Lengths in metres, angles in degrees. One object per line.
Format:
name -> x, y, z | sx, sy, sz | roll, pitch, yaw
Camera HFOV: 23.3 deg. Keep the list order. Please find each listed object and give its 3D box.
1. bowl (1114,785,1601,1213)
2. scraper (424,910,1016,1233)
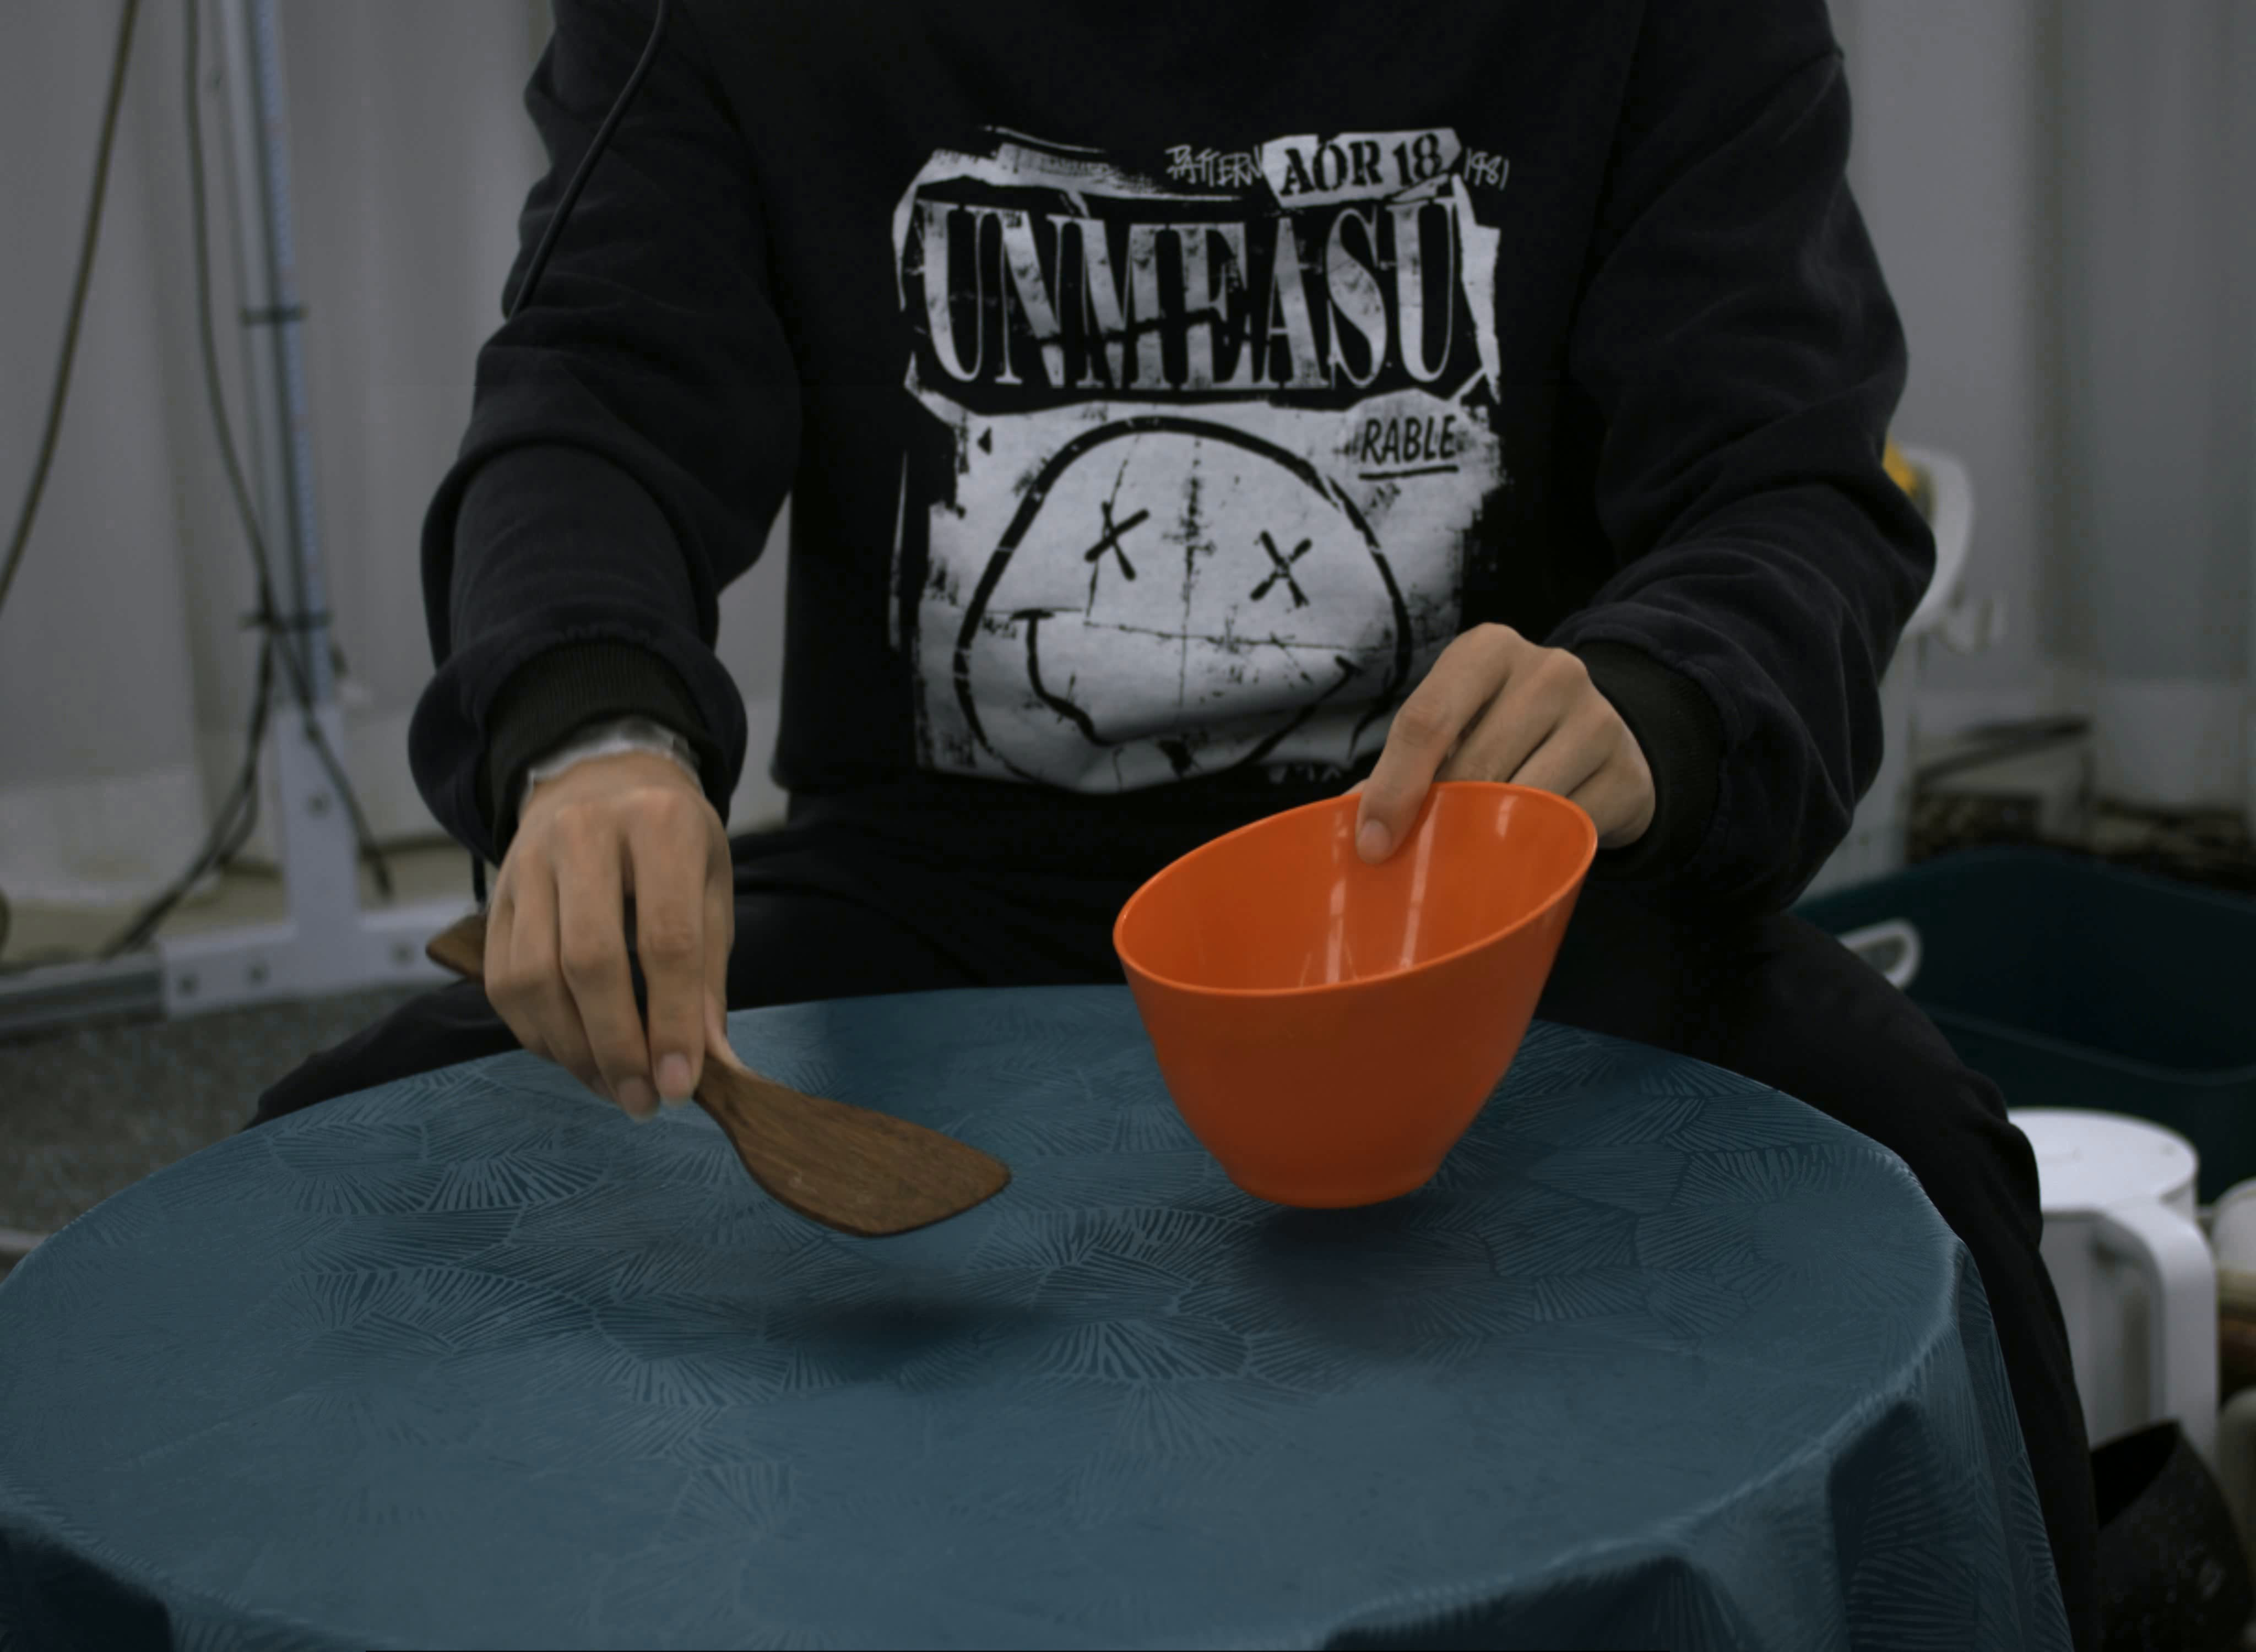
bowl -> 0.071, 0.056, 1.656 | 0.147, 0.104, 0.149 | -3, 21, 1
scraper -> -0.130, 0.072, 1.642 | 0.213, 0.011, 0.076 | 27, 27, 30
